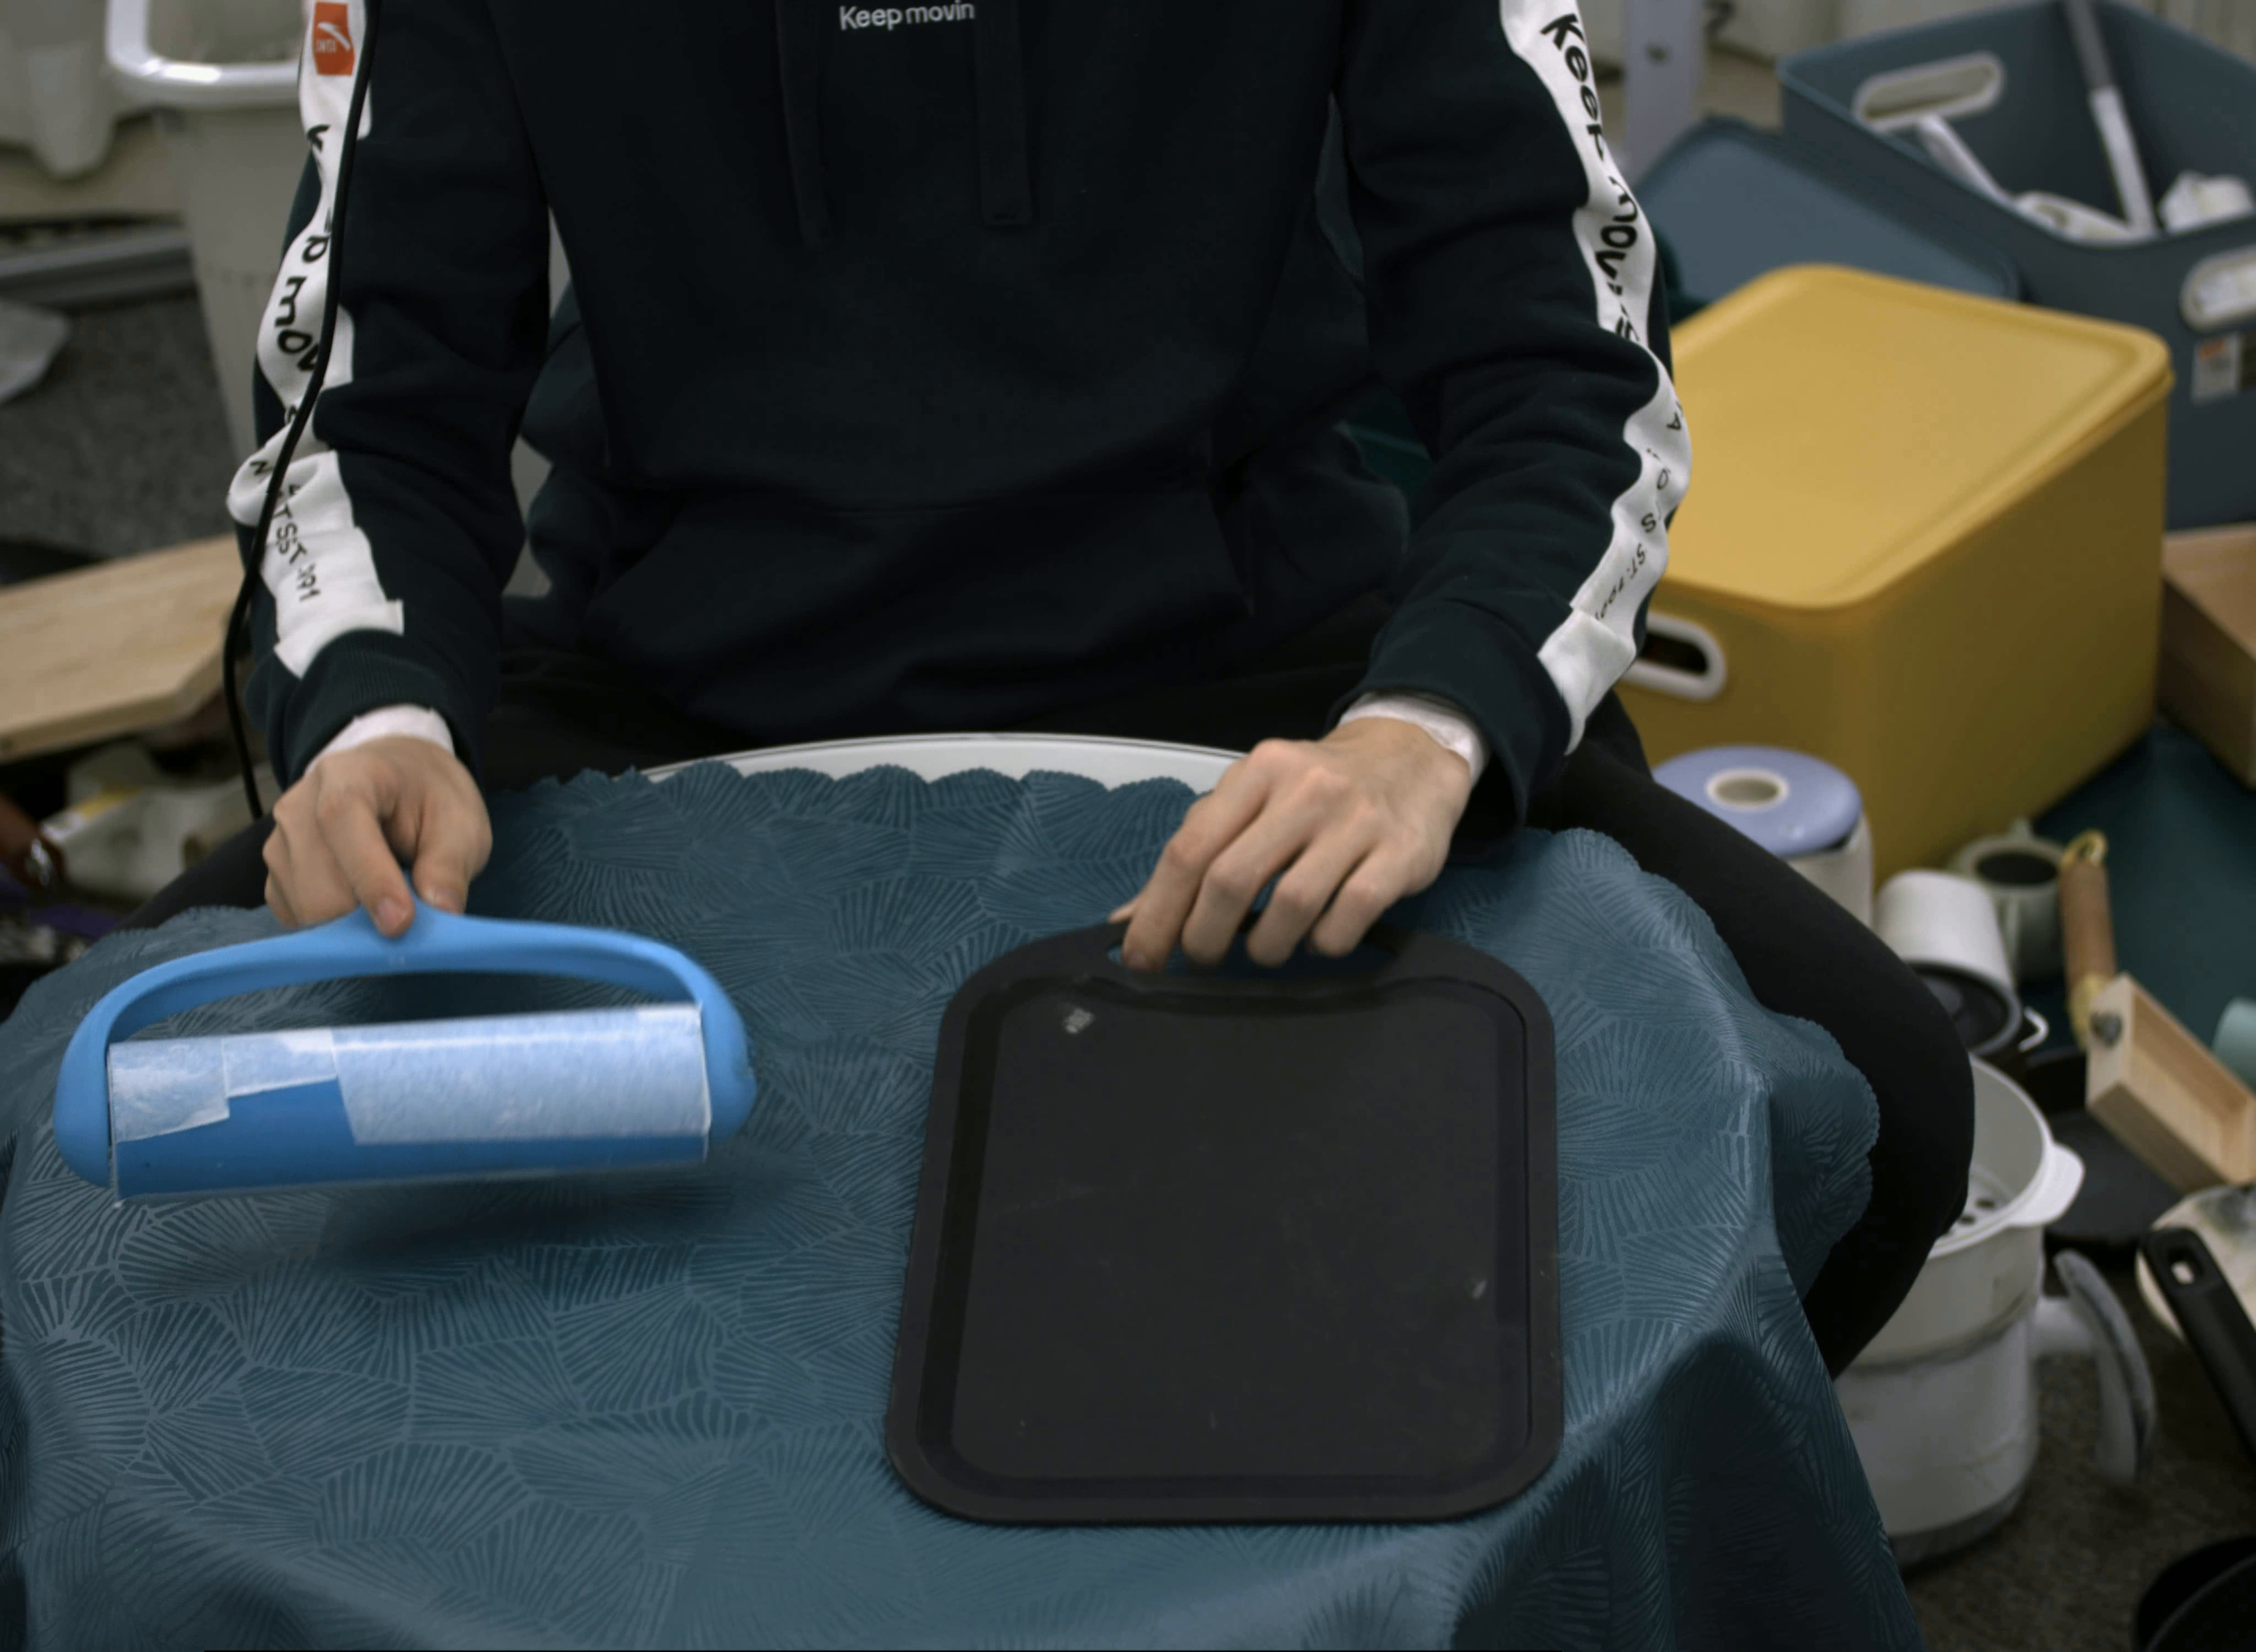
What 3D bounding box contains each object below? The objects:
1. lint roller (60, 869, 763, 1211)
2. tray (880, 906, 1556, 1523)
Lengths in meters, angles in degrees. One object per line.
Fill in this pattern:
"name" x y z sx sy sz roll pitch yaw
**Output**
"lint roller" -0.247 0.054 1.882 0.229 0.067 0.183 -7 36 -12
"tray" 0.034 0.118 1.824 0.210 0.009 0.331 0 33 4
